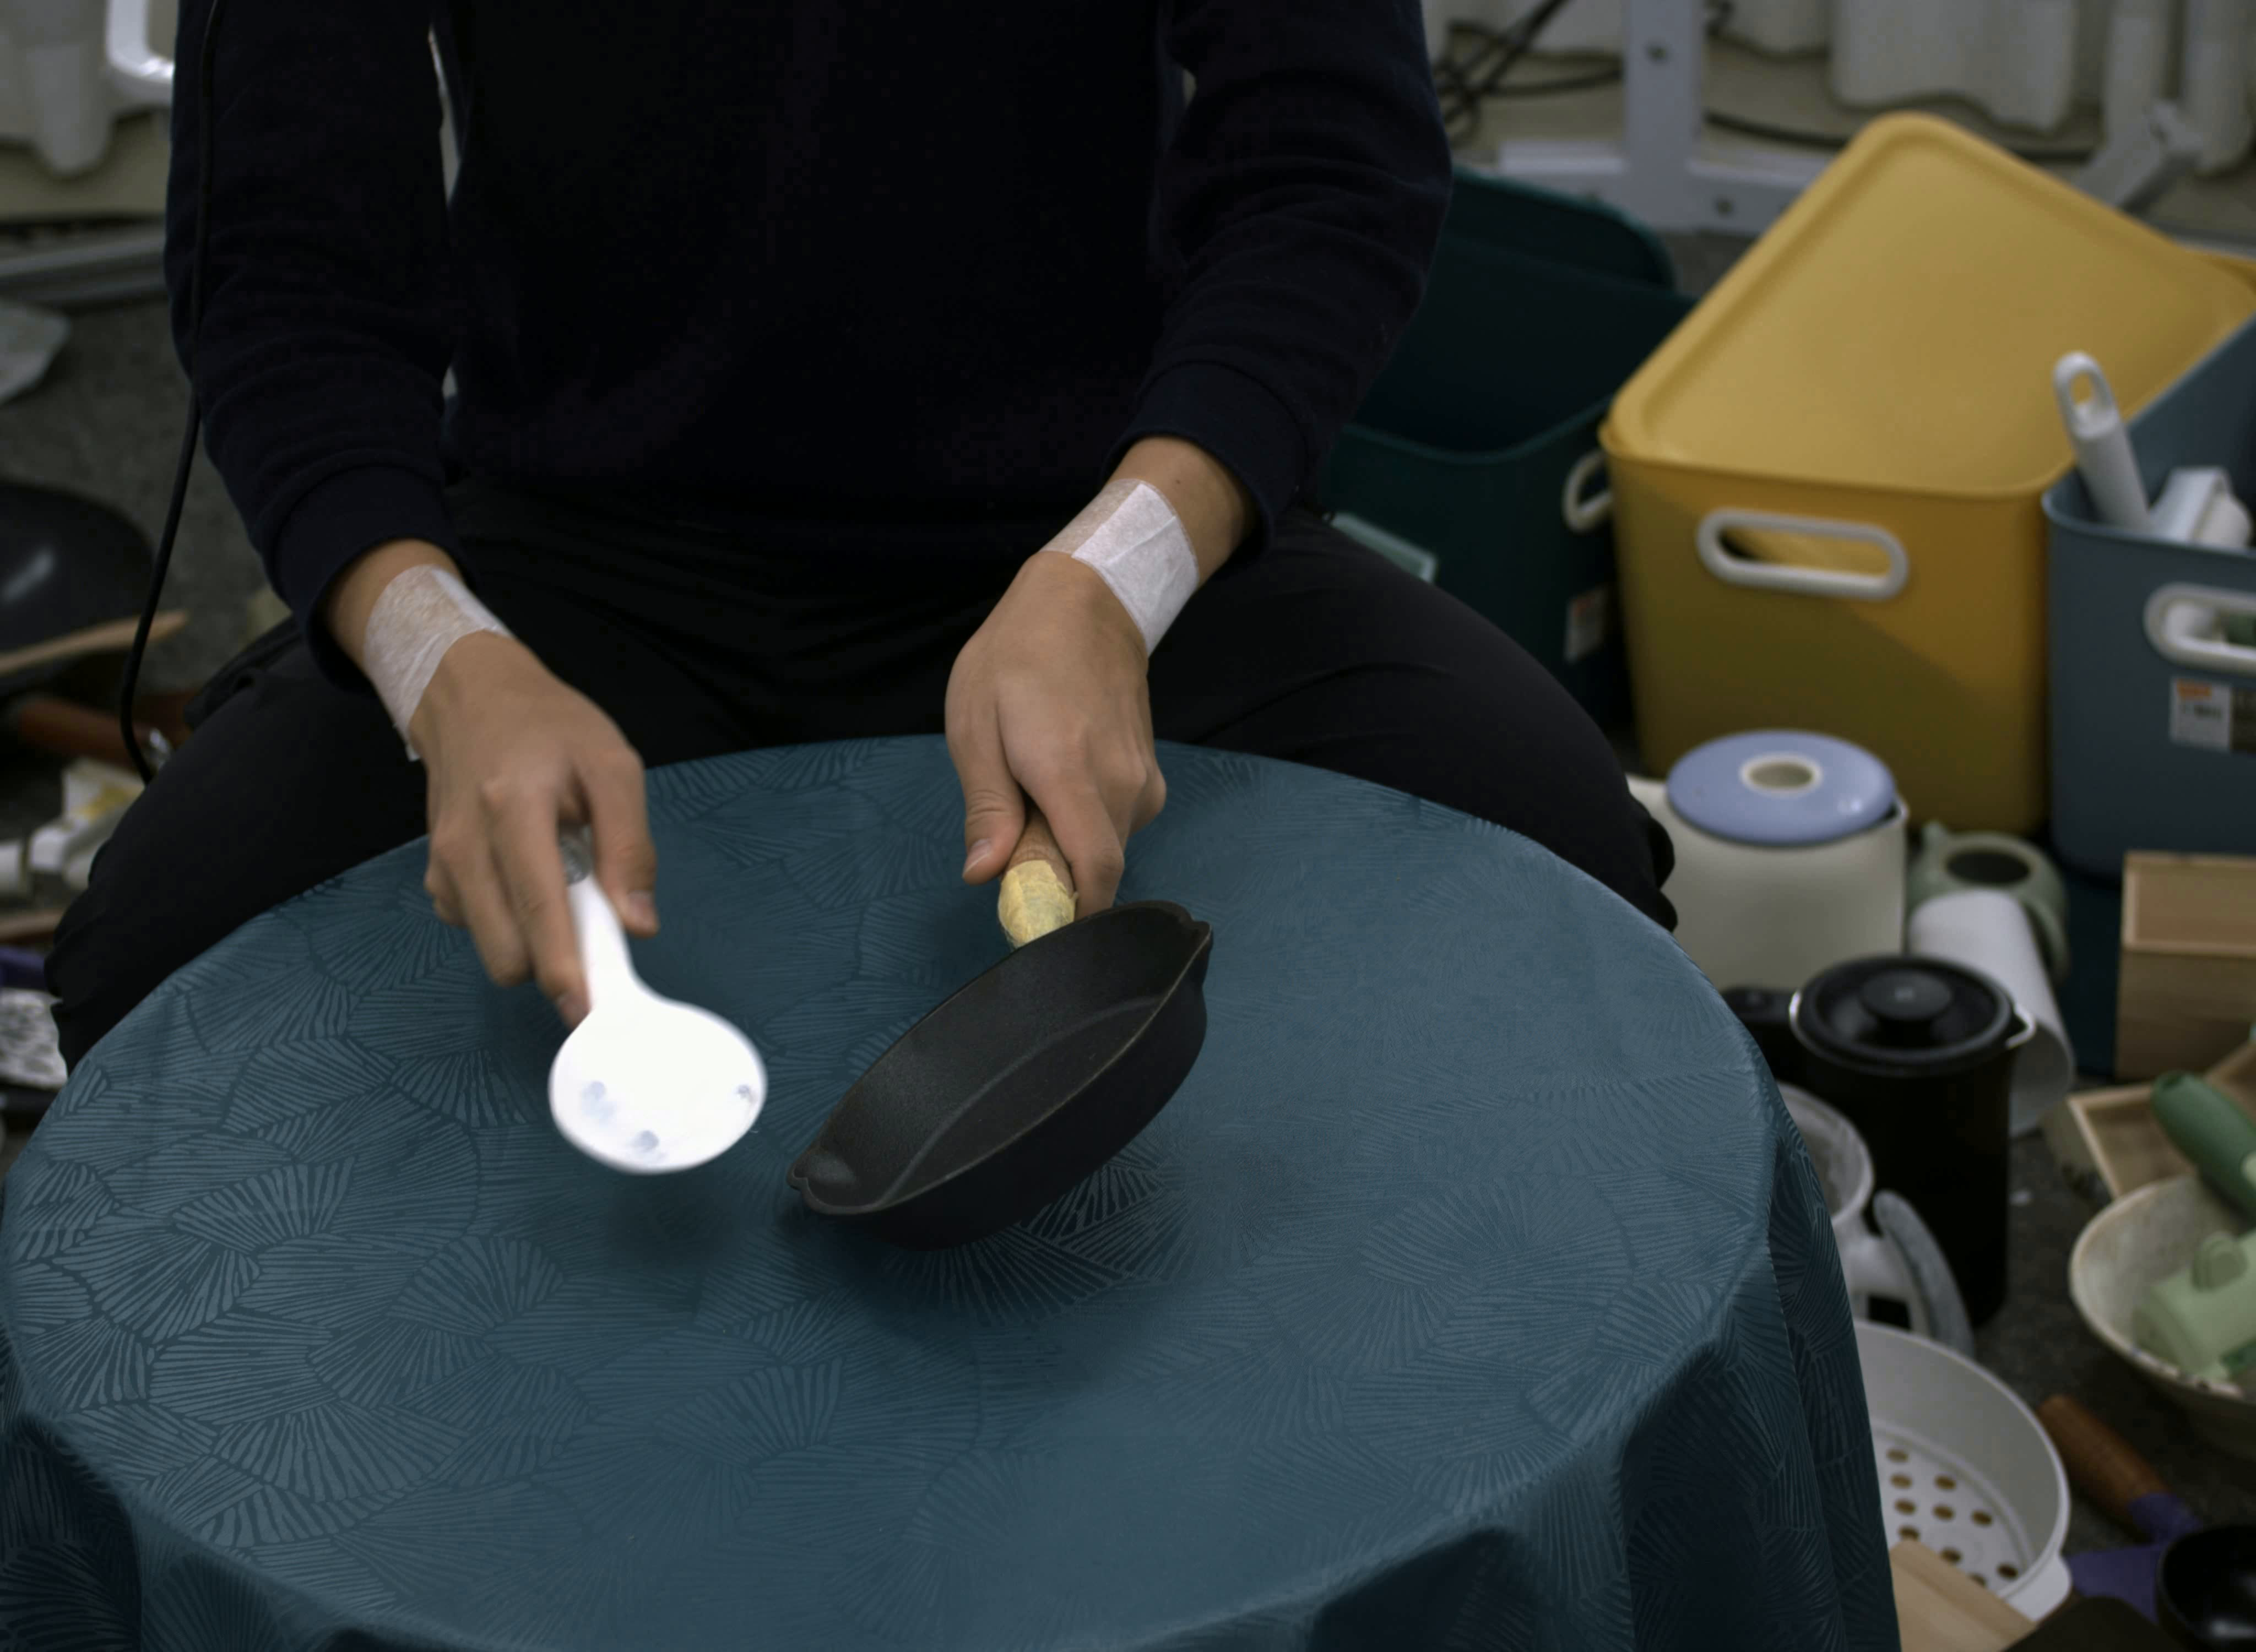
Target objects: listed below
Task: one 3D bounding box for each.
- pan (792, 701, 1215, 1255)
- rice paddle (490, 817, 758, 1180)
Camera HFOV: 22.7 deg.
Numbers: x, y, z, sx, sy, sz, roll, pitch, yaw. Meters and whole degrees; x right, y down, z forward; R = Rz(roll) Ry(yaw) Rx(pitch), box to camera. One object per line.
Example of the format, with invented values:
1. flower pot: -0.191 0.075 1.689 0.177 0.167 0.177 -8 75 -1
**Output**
1. pan: -0.030 0.044 1.911 0.167 0.049 0.329 -30 20 18
2. rice paddle: -0.175 0.059 1.887 0.069 0.029 0.207 -15 34 -13
